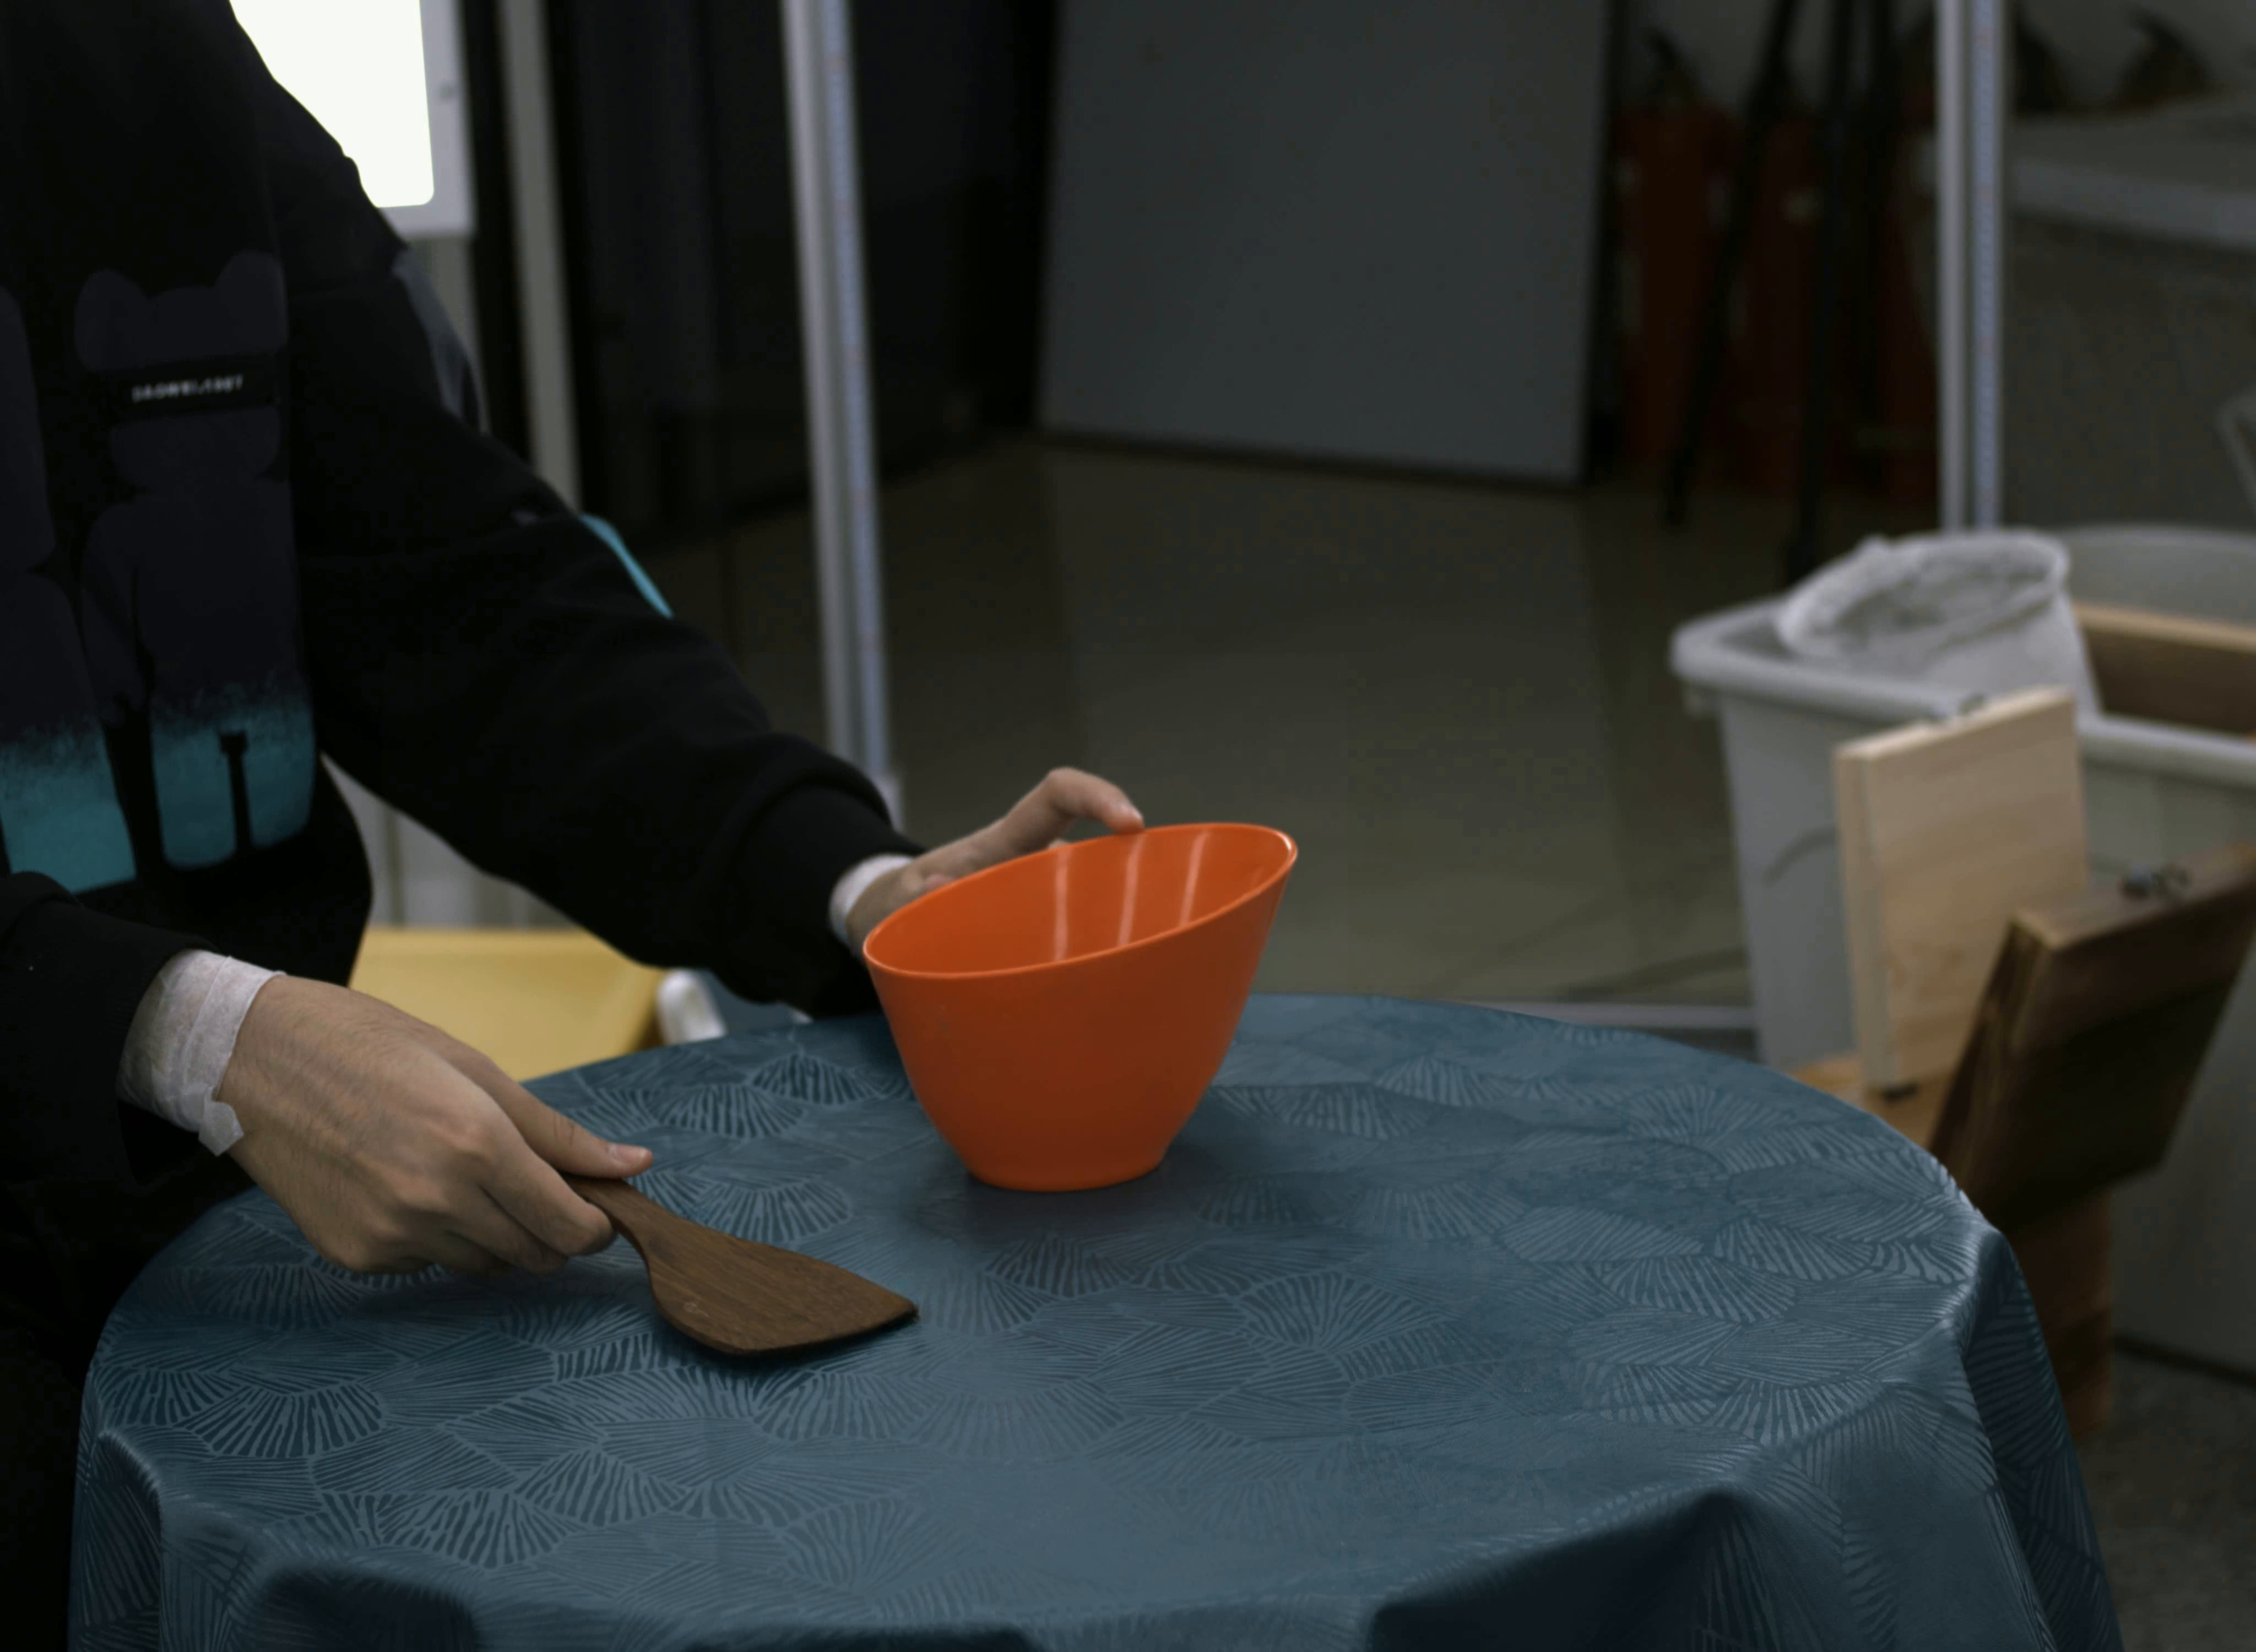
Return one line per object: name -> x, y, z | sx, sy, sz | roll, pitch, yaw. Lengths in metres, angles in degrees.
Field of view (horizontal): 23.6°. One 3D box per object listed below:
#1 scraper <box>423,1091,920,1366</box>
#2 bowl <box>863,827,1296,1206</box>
scraper -> -0.154, 0.125, 1.710 | 0.074, 0.011, 0.213 | -11, 27, -40
bowl -> -0.013, 0.066, 1.792 | 0.146, 0.106, 0.148 | -6, 14, 0
